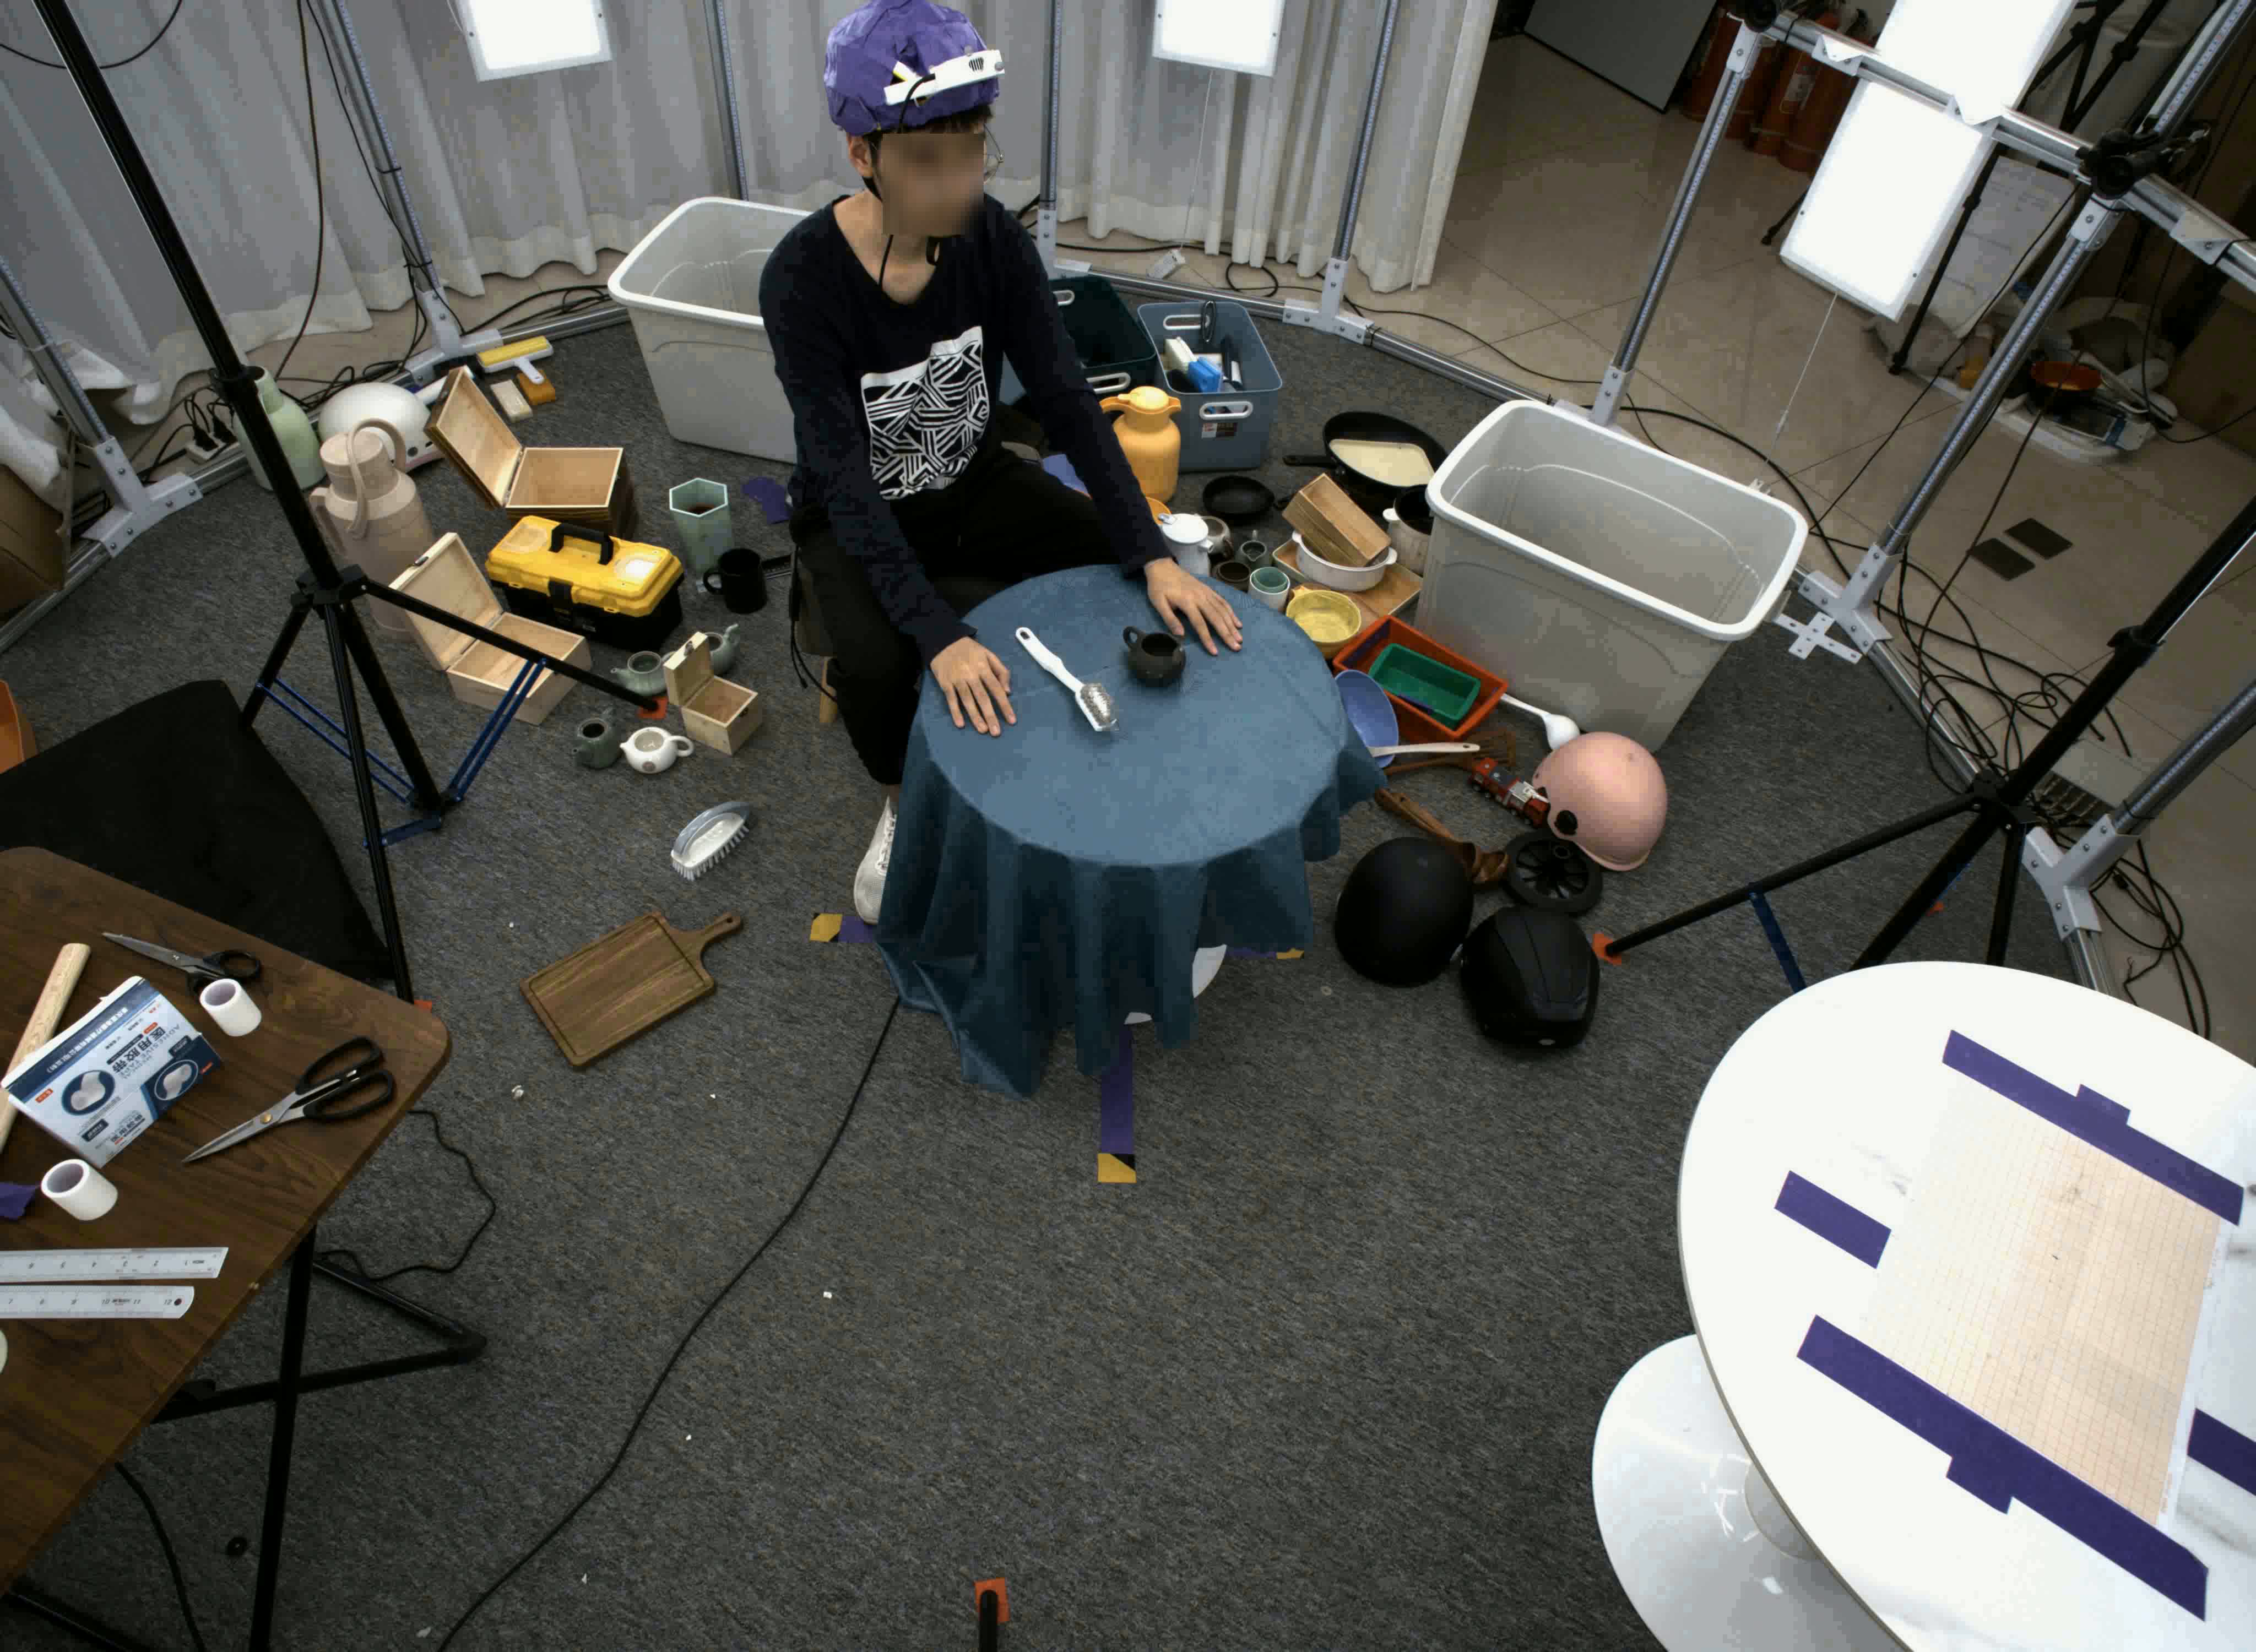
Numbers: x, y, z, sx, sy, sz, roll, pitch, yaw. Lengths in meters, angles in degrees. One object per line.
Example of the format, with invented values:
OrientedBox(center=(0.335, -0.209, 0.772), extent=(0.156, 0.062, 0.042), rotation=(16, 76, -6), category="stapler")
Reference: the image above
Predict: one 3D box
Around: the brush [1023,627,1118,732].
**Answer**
OrientedBox(center=(-0.087, -0.222, 1.825), extent=(0.034, 0.049, 0.249), rotation=(-25, 55, -18), category="brush")

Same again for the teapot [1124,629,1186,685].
OrientedBox(center=(0.035, -0.249, 1.853), extent=(0.083, 0.052, 0.116), rotation=(-34, 59, -27), category="teapot")
